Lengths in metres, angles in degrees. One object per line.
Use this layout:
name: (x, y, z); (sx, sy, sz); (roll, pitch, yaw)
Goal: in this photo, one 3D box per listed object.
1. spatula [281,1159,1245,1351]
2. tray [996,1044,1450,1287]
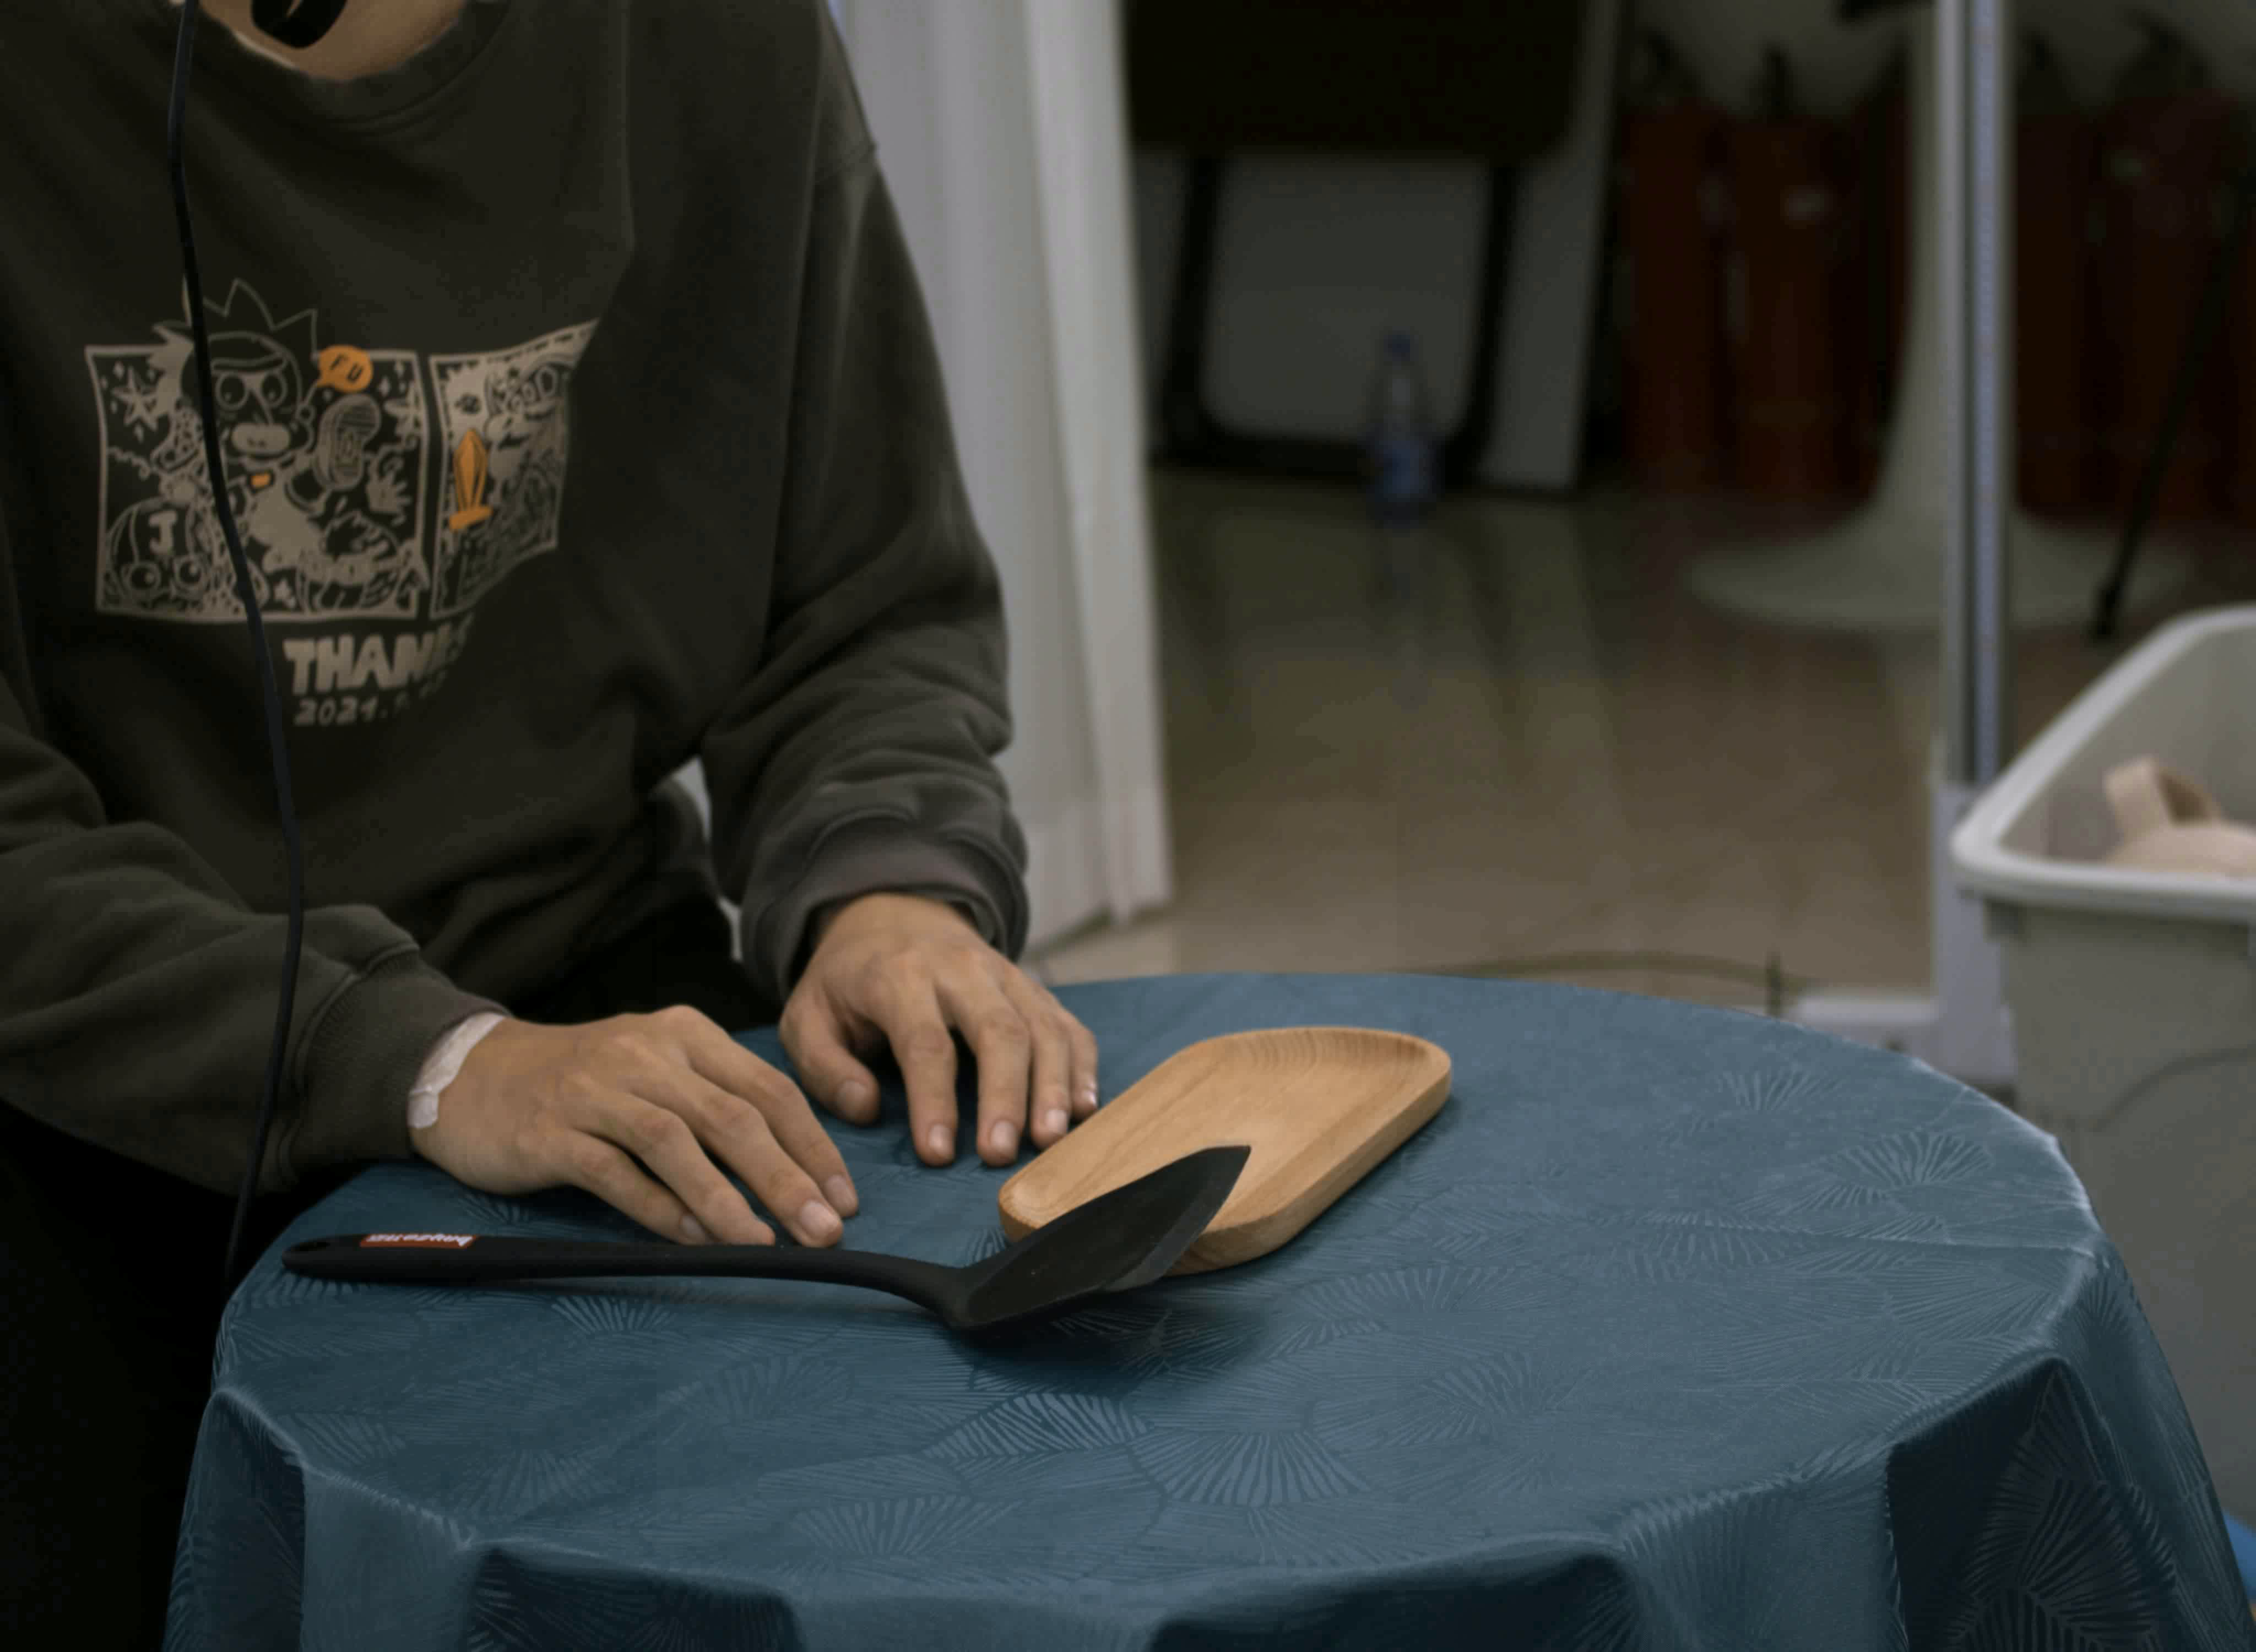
spatula: (-0.122, 0.133, 1.687); (0.326, 0.041, 0.099); (1, 19, 22)
tray: (0.034, 0.110, 1.781); (0.102, 0.020, 0.228); (2, 16, 24)
